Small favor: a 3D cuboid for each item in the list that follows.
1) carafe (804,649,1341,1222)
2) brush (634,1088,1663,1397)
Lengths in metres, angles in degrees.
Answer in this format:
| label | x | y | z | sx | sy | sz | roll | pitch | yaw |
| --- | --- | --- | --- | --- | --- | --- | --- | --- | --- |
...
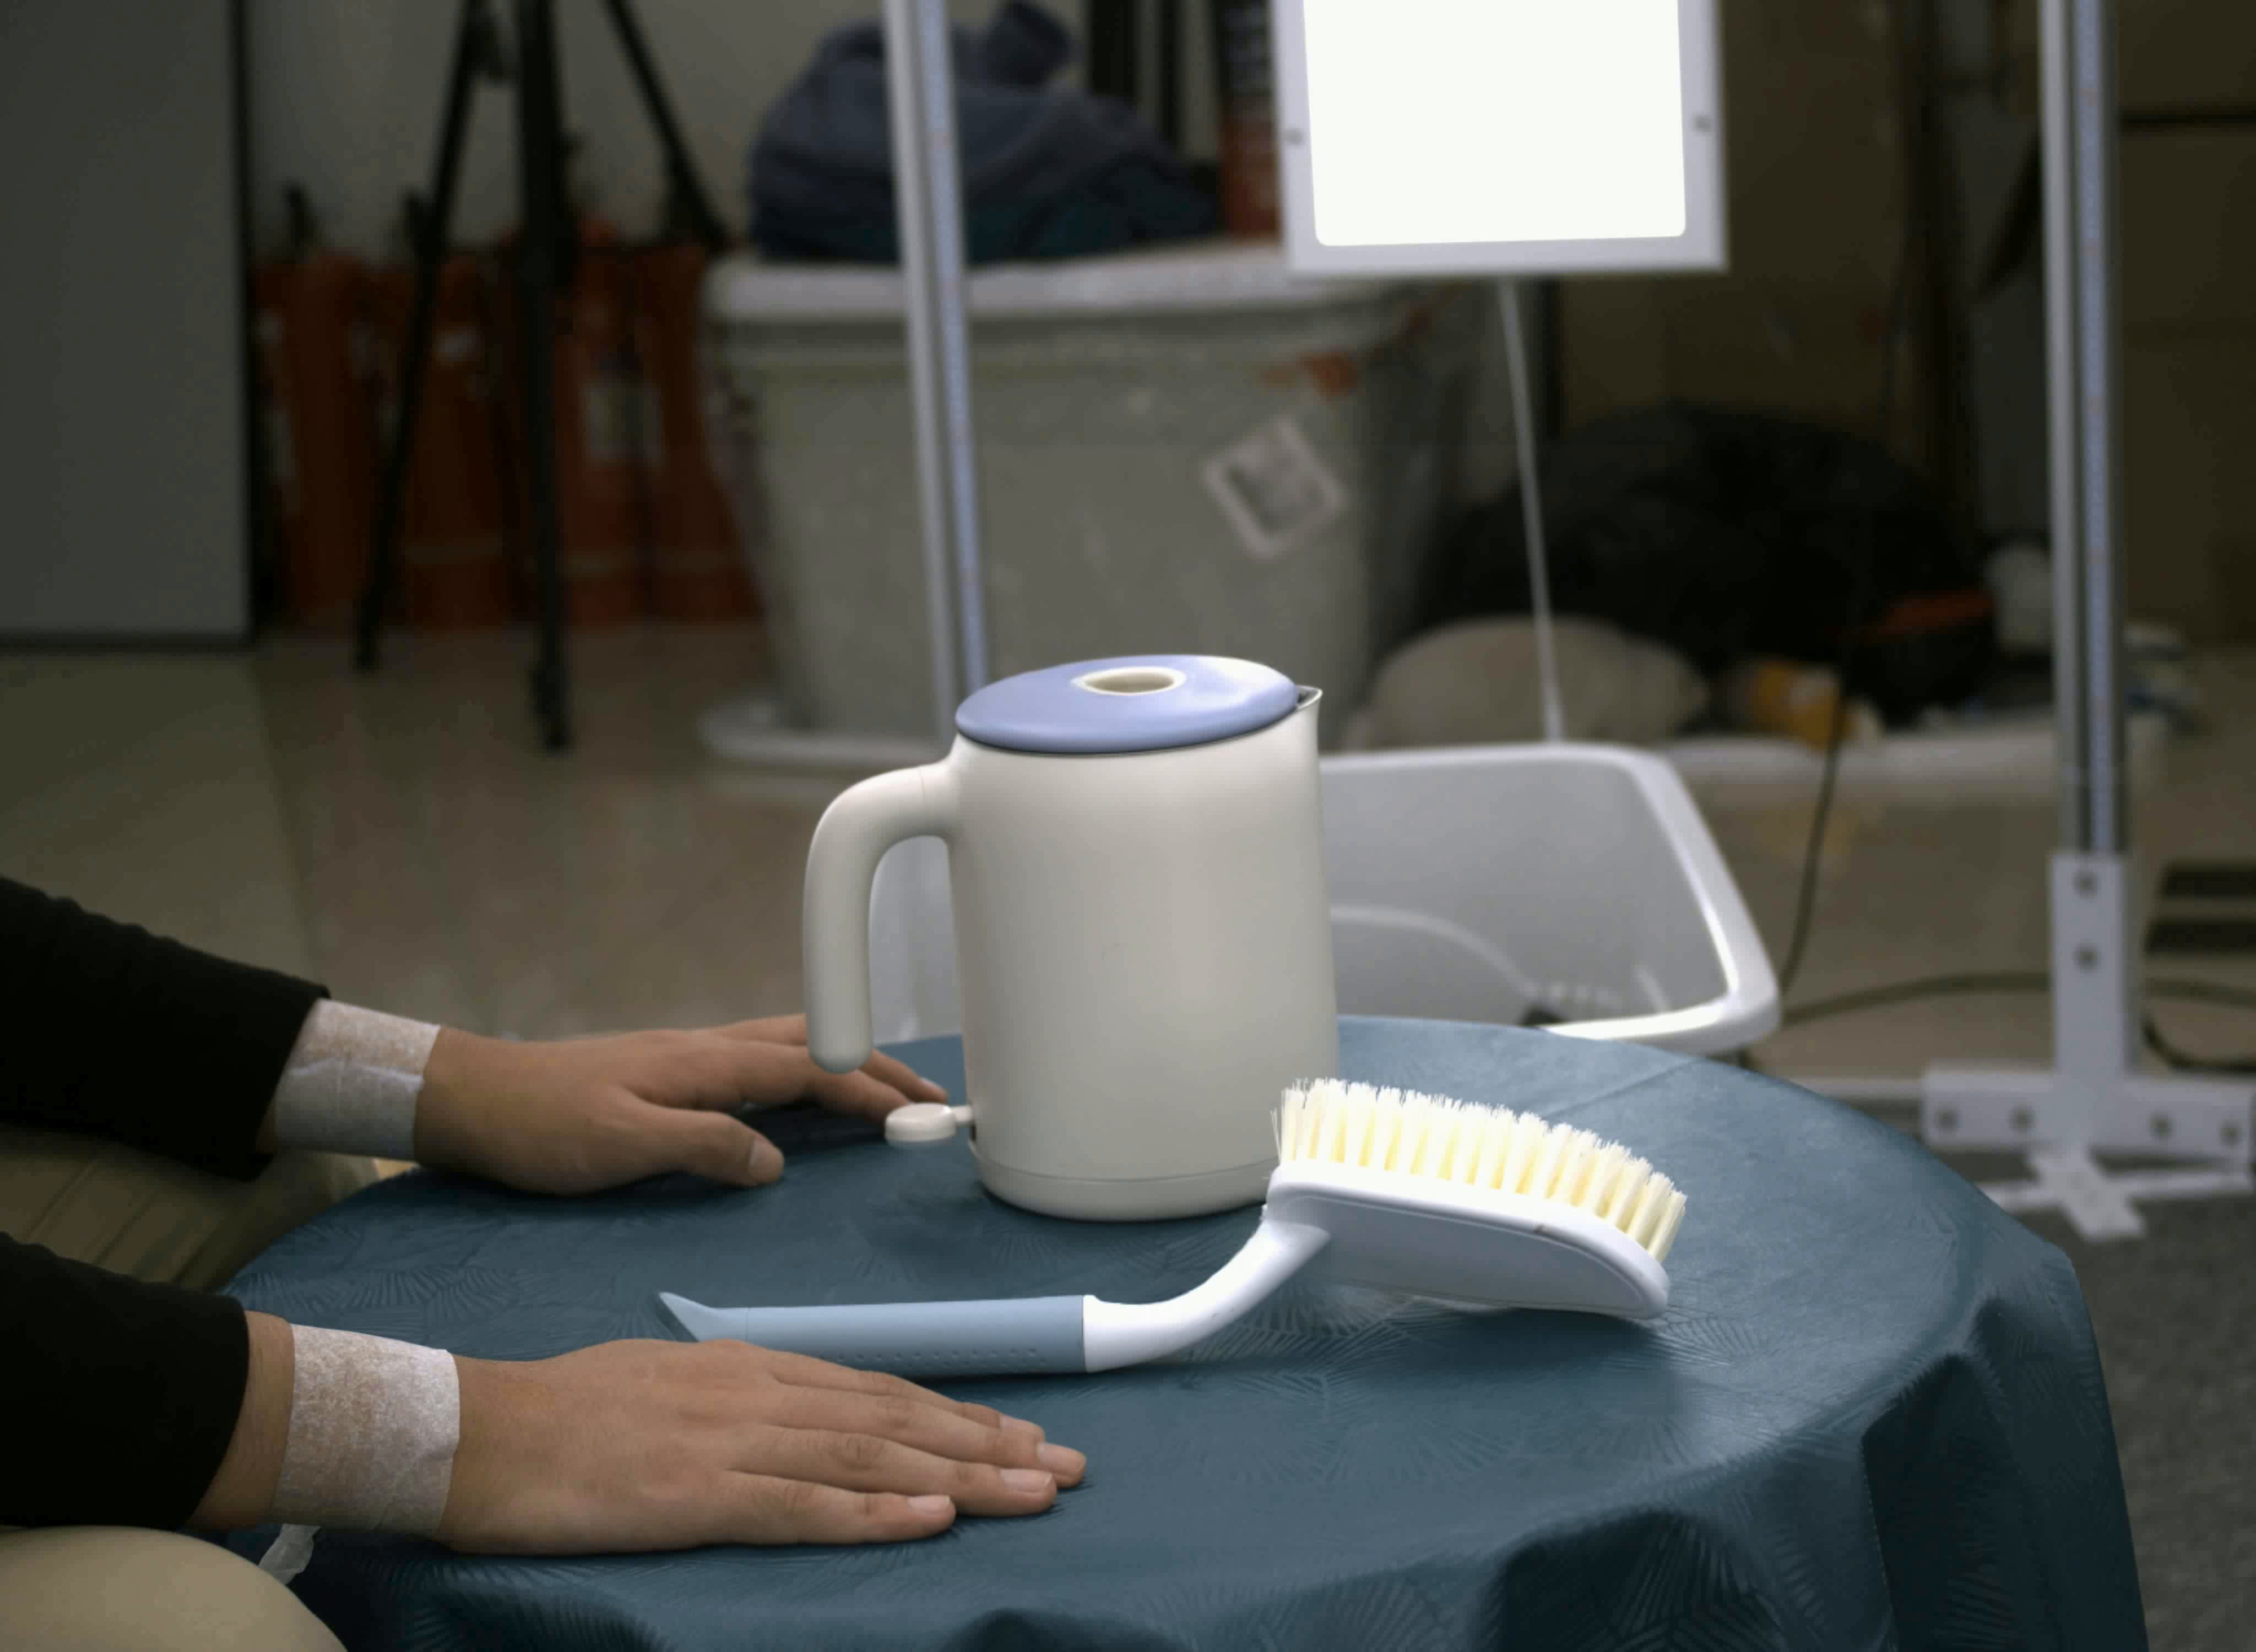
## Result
| label | x | y | z | sx | sy | sz | roll | pitch | yaw |
| --- | --- | --- | --- | --- | --- | --- | --- | --- | --- |
| carafe | -0.019 | 0.040 | 1.896 | 0.189 | 0.183 | 0.133 | -8 | 14 | -9 |
| brush | 0.006 | 0.124 | 1.735 | 0.326 | 0.083 | 0.084 | -3 | 21 | 5 |
